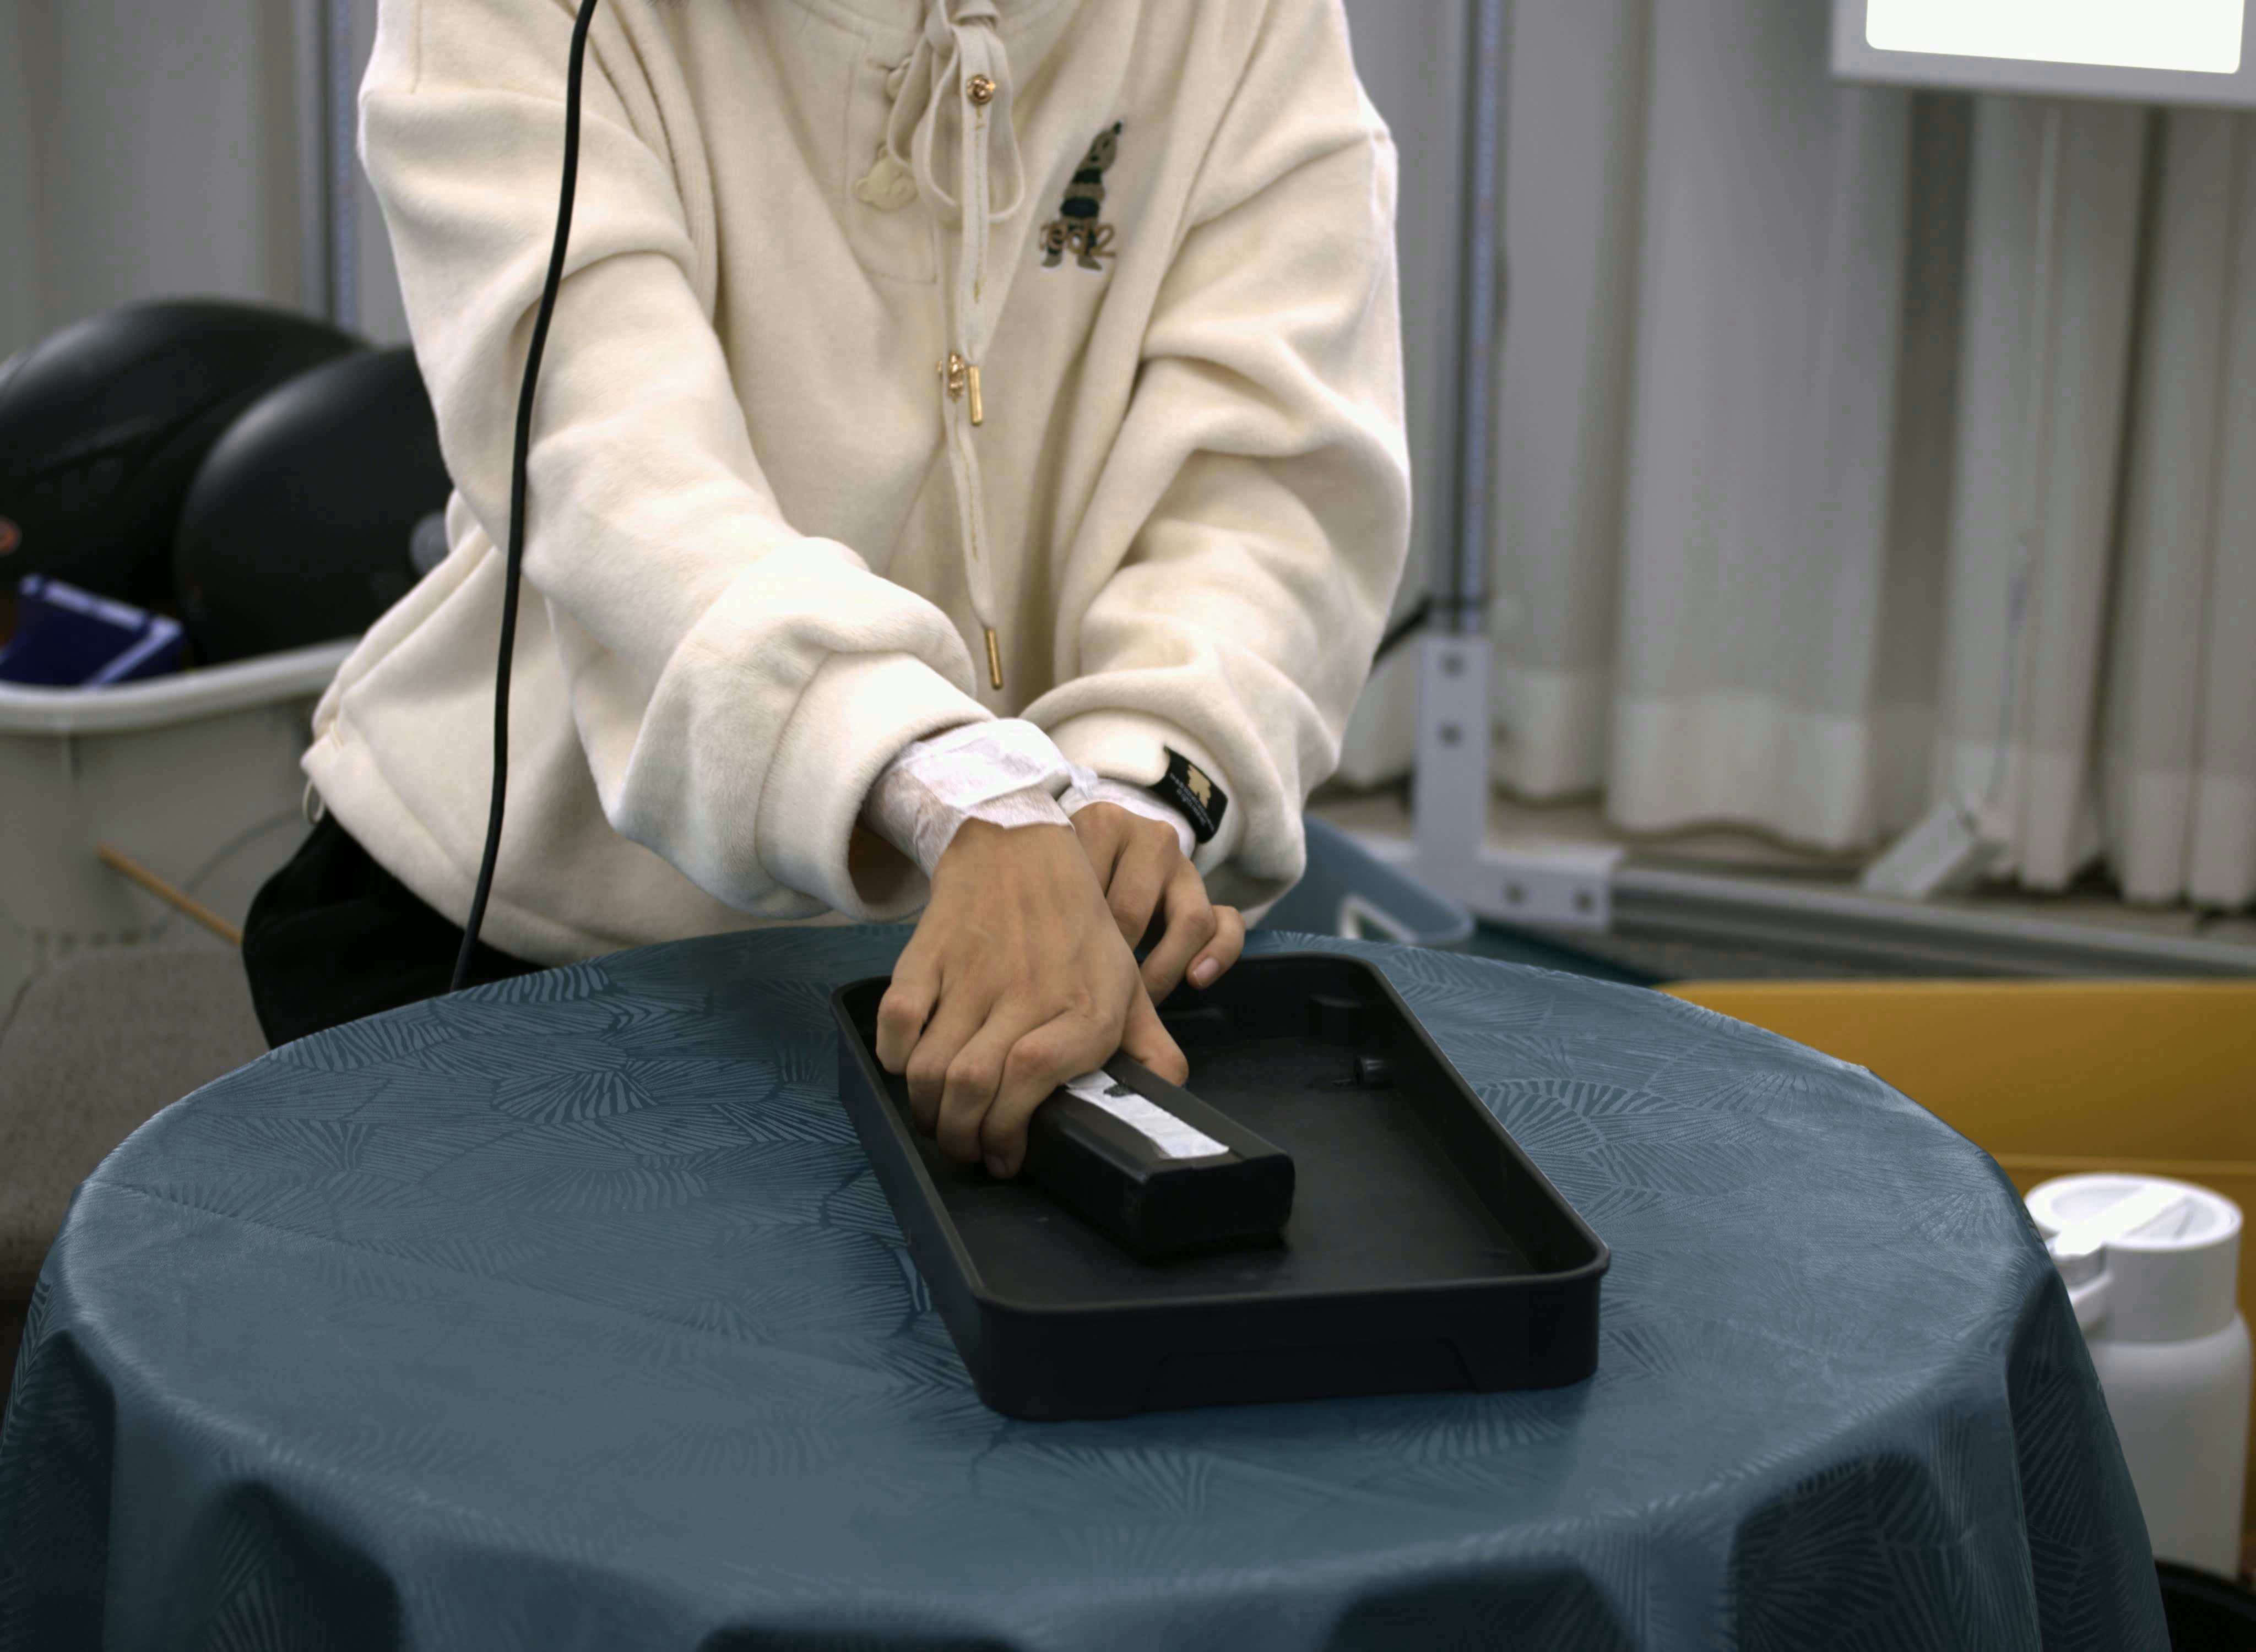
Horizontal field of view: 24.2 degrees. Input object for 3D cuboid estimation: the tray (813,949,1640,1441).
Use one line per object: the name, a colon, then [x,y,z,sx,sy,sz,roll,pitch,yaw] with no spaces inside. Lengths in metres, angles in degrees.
tray: [0.021,0.104,1.581,0.184,0.037,0.315,-3,16,-14]

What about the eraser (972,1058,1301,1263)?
eraser: [0.001,0.101,1.597,0.054,0.030,0.124,-3,14,-27]
